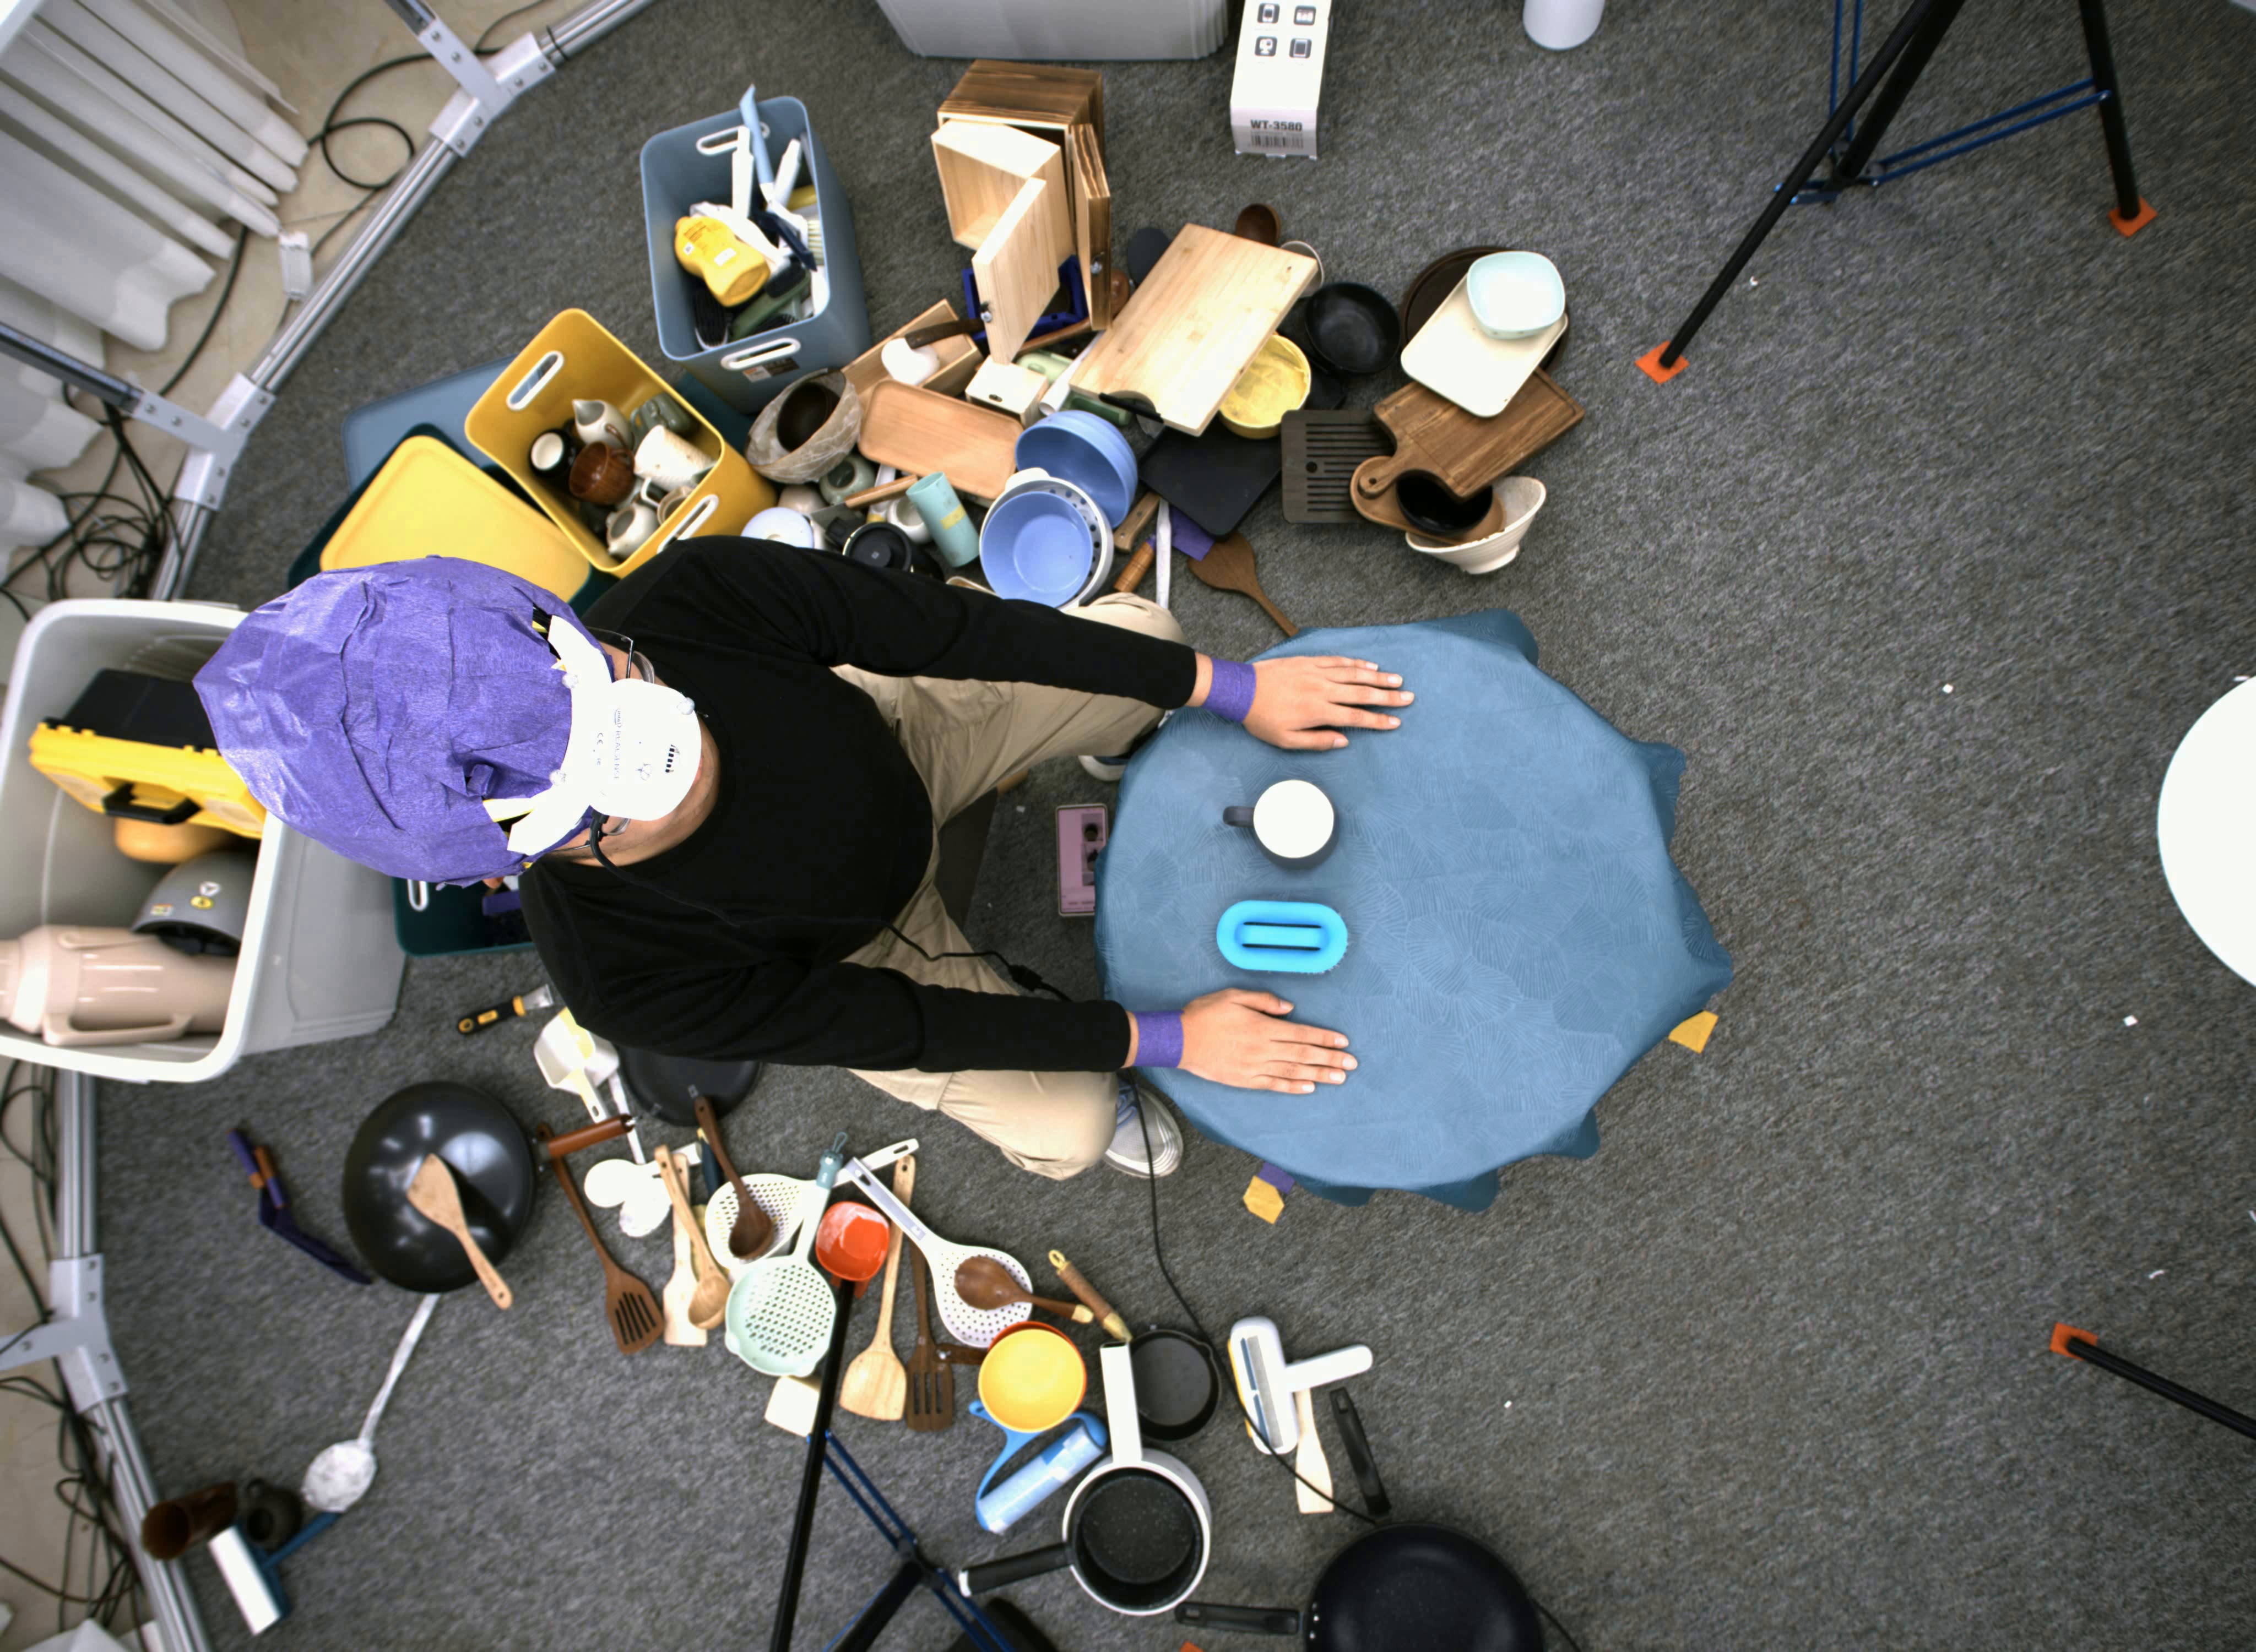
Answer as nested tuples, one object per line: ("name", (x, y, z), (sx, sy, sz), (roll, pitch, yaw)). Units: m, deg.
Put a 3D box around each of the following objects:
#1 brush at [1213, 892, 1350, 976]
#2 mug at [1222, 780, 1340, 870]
("brush", (0.159, 0.112, 1.444), (0.142, 0.063, 0.084), (3, 91, 11))
("mug", (0.159, -0.006, 1.436), (0.123, 0.090, 0.093), (9, 86, 9))
